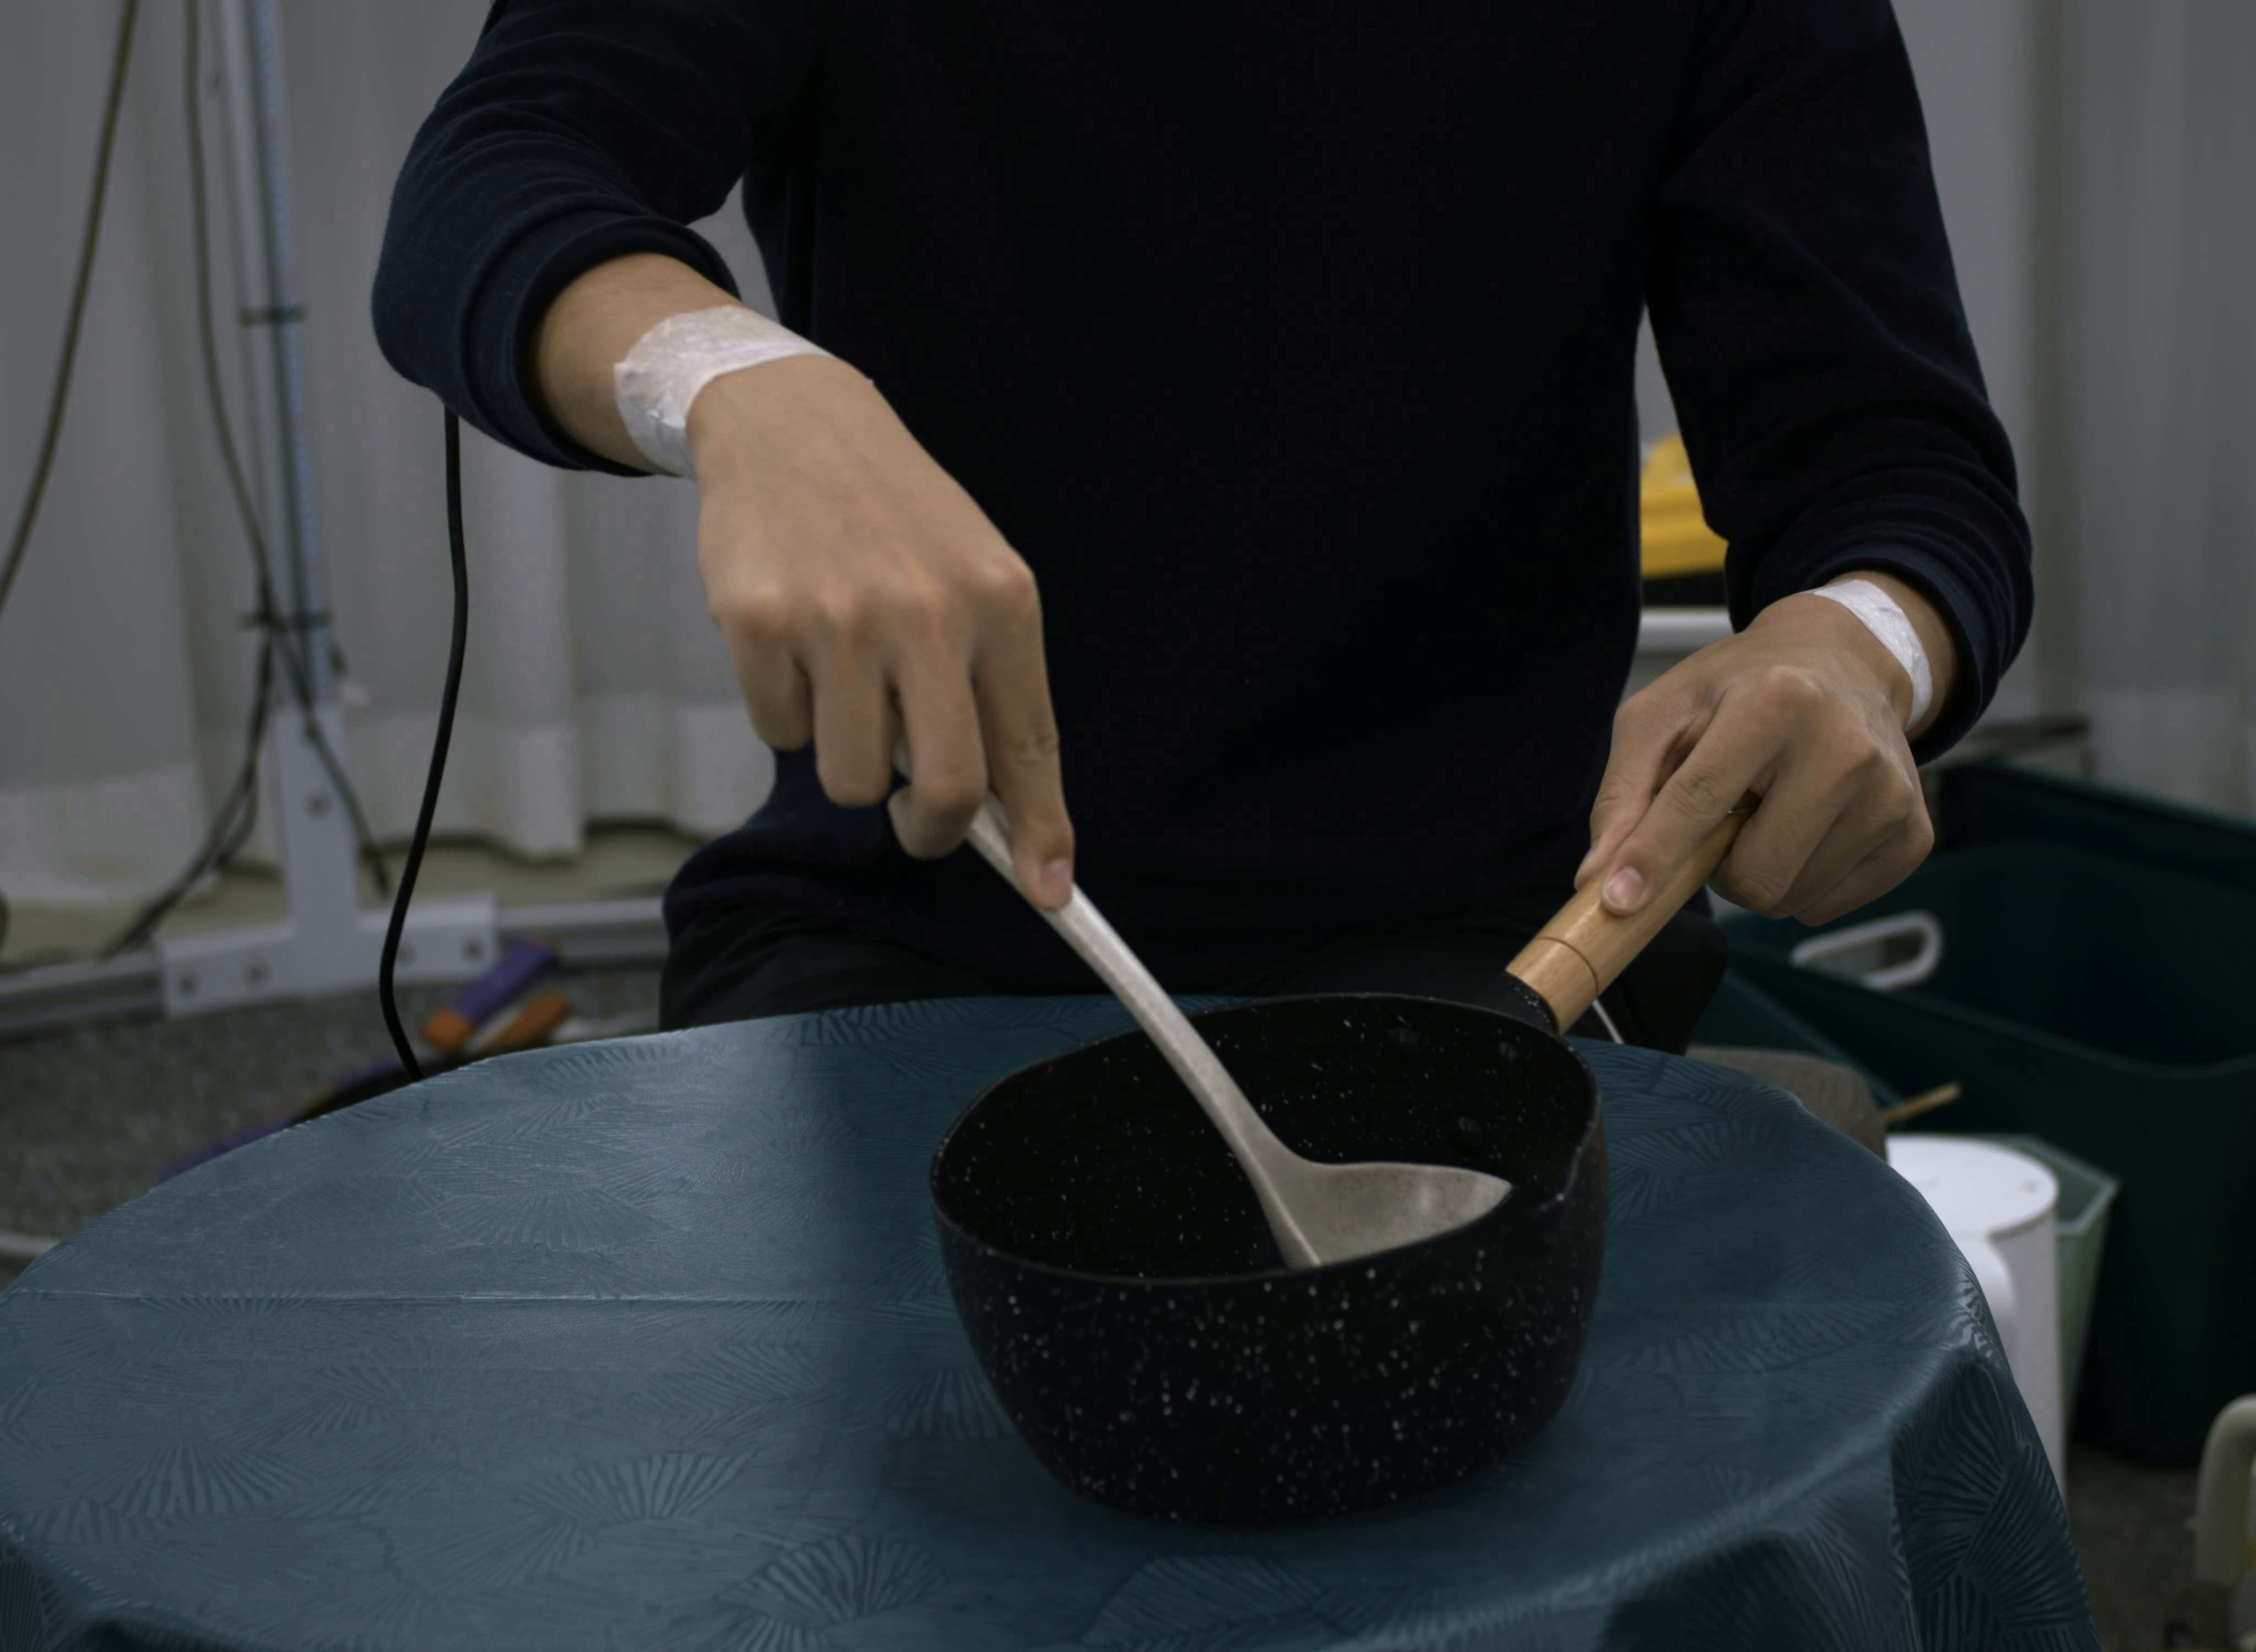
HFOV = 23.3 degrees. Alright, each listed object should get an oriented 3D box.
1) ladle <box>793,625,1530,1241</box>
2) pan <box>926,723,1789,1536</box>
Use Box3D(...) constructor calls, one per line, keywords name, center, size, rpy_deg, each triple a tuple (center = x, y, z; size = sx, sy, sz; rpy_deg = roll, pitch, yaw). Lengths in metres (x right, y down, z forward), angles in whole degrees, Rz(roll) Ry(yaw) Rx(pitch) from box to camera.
Box3D(name="ladle", center=(0.019, 0.037, 1.476), size=(0.069, 0.273, 0.090), rpy_deg=(-31, 16, 26))
Box3D(name="pan", center=(0.089, 0.081, 1.544), size=(0.208, 0.107, 0.344), rpy_deg=(7, 27, 39))
